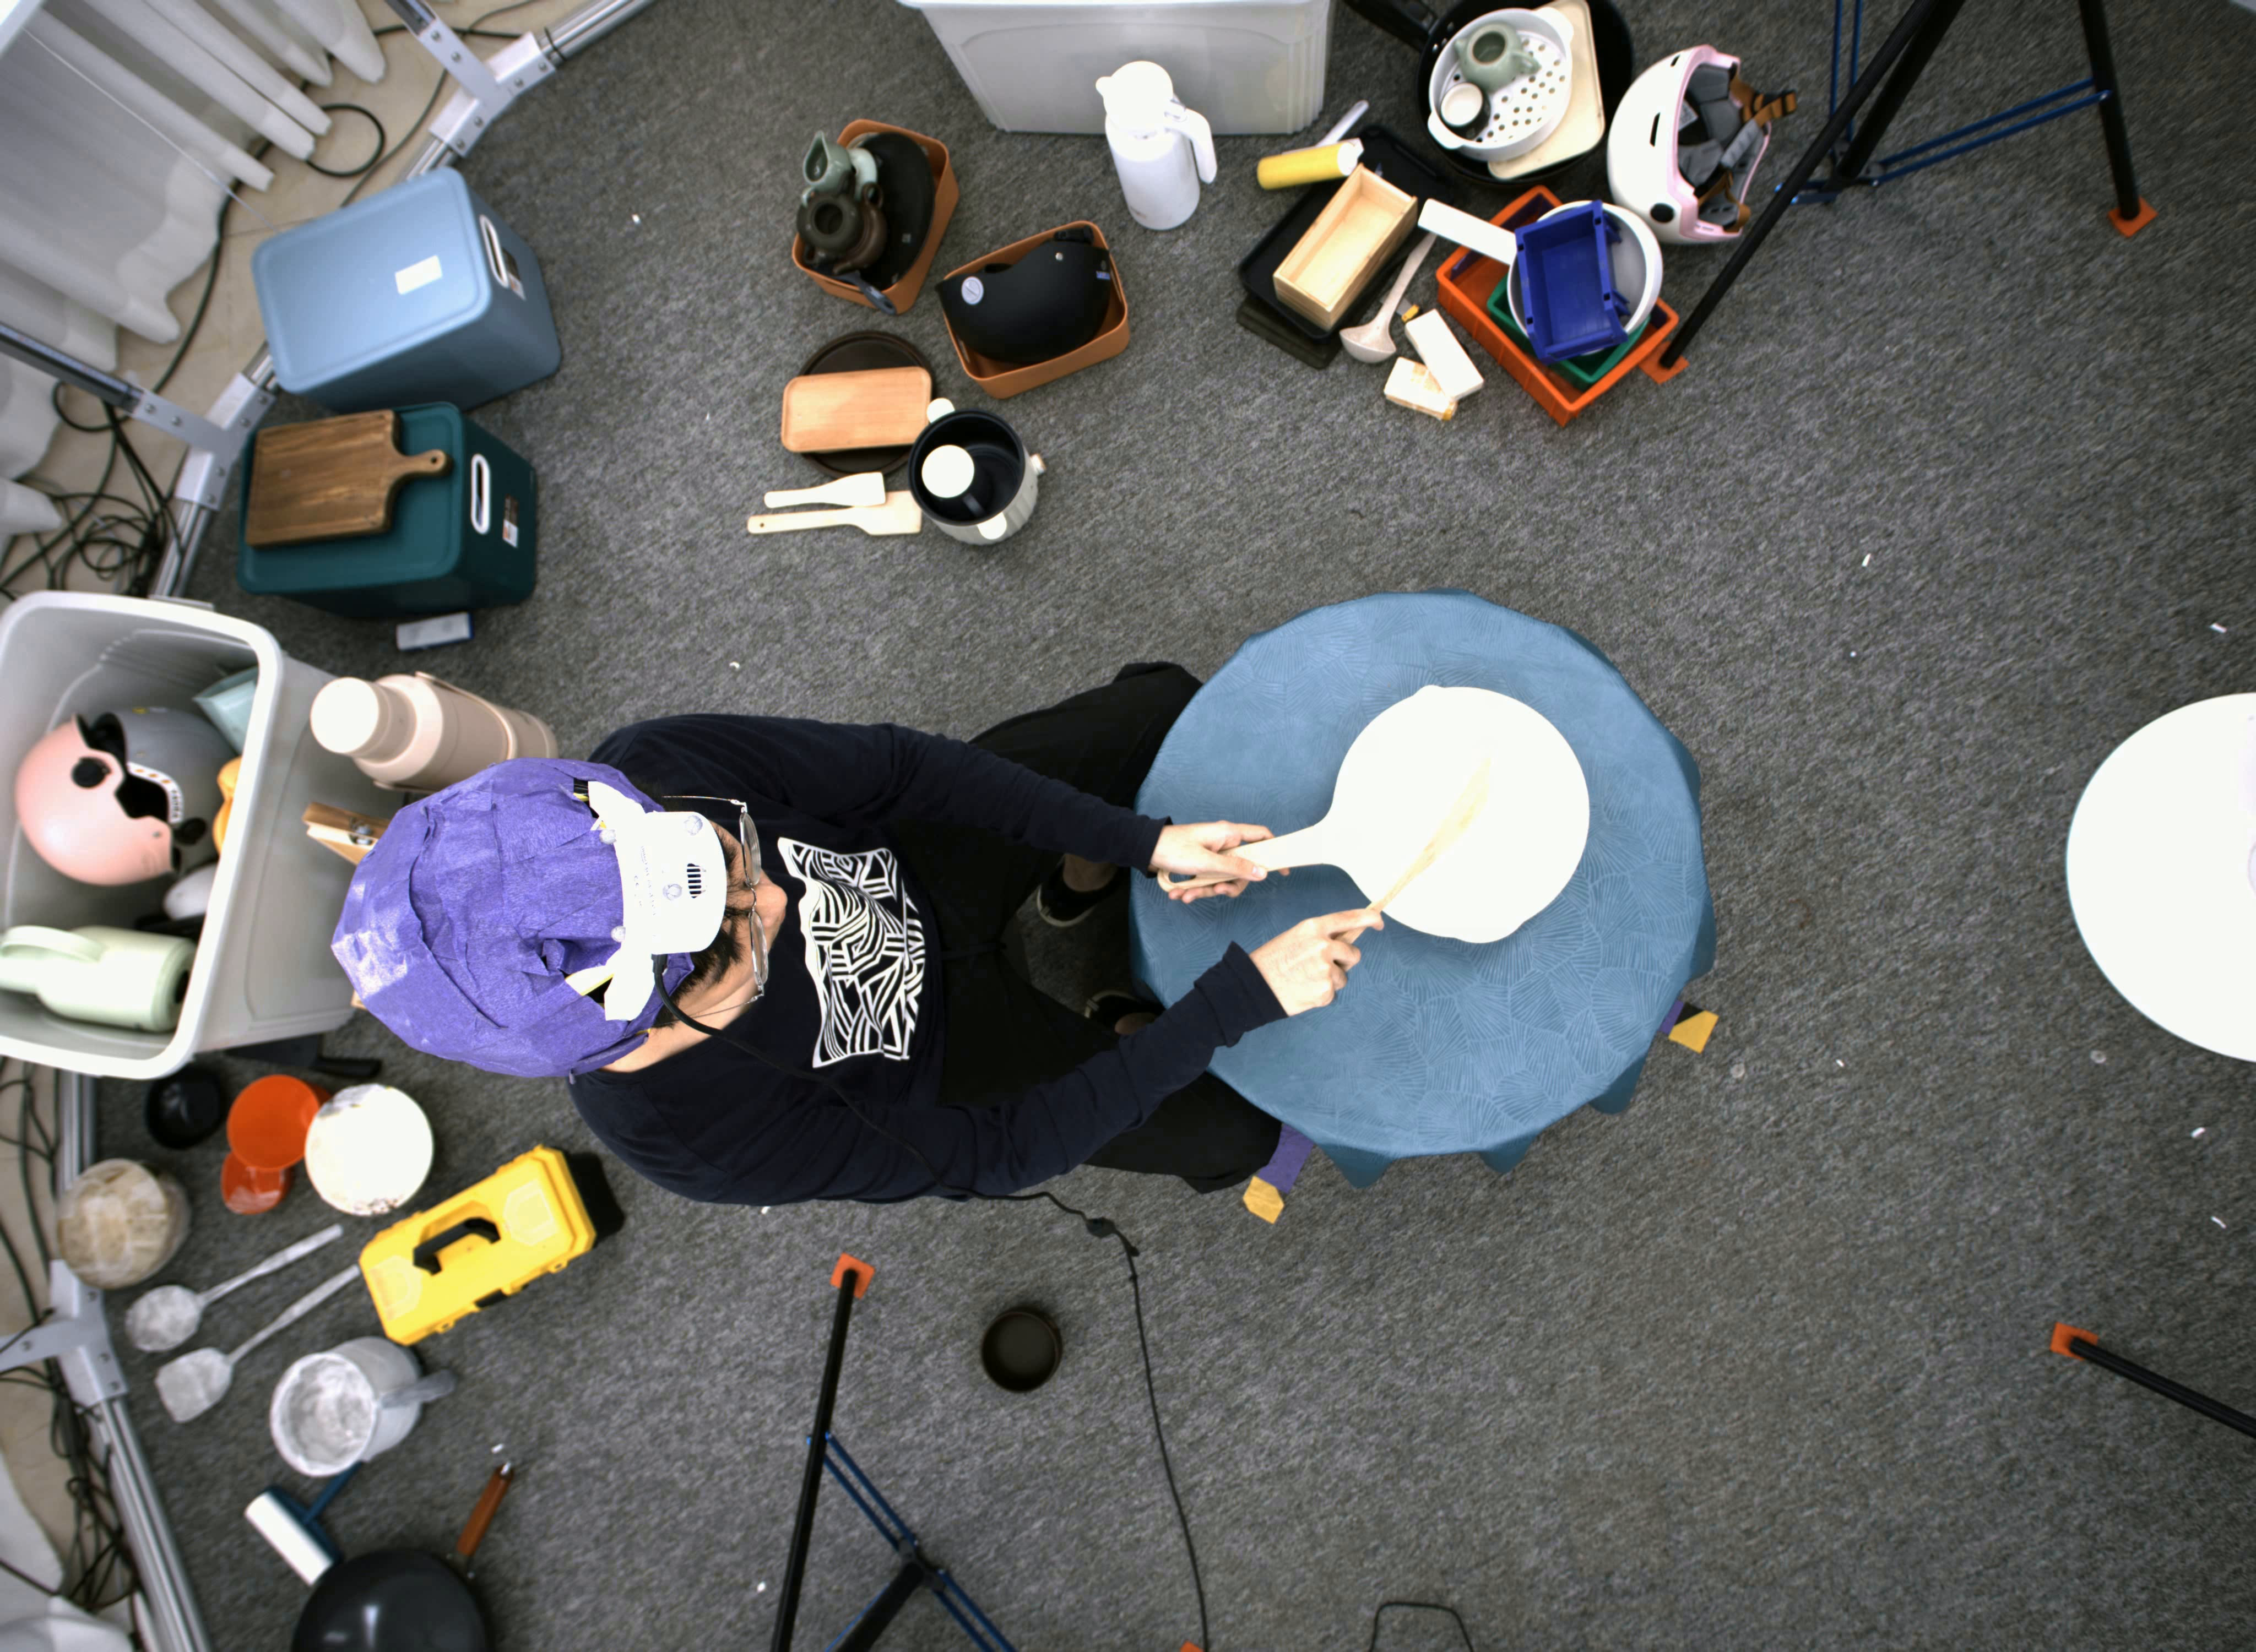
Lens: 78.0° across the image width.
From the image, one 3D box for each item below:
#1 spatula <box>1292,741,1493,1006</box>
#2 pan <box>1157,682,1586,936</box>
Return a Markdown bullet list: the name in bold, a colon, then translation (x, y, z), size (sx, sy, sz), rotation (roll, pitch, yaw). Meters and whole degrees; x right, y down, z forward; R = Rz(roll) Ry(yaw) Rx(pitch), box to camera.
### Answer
- **spatula**: translation (0.259, 0.049, 1.322), size (0.016, 0.081, 0.324), rotation (35, 74, 32)
- **pan**: translation (0.245, 0.005, 1.420), size (0.437, 0.102, 0.262), rotation (-15, 84, 10)
